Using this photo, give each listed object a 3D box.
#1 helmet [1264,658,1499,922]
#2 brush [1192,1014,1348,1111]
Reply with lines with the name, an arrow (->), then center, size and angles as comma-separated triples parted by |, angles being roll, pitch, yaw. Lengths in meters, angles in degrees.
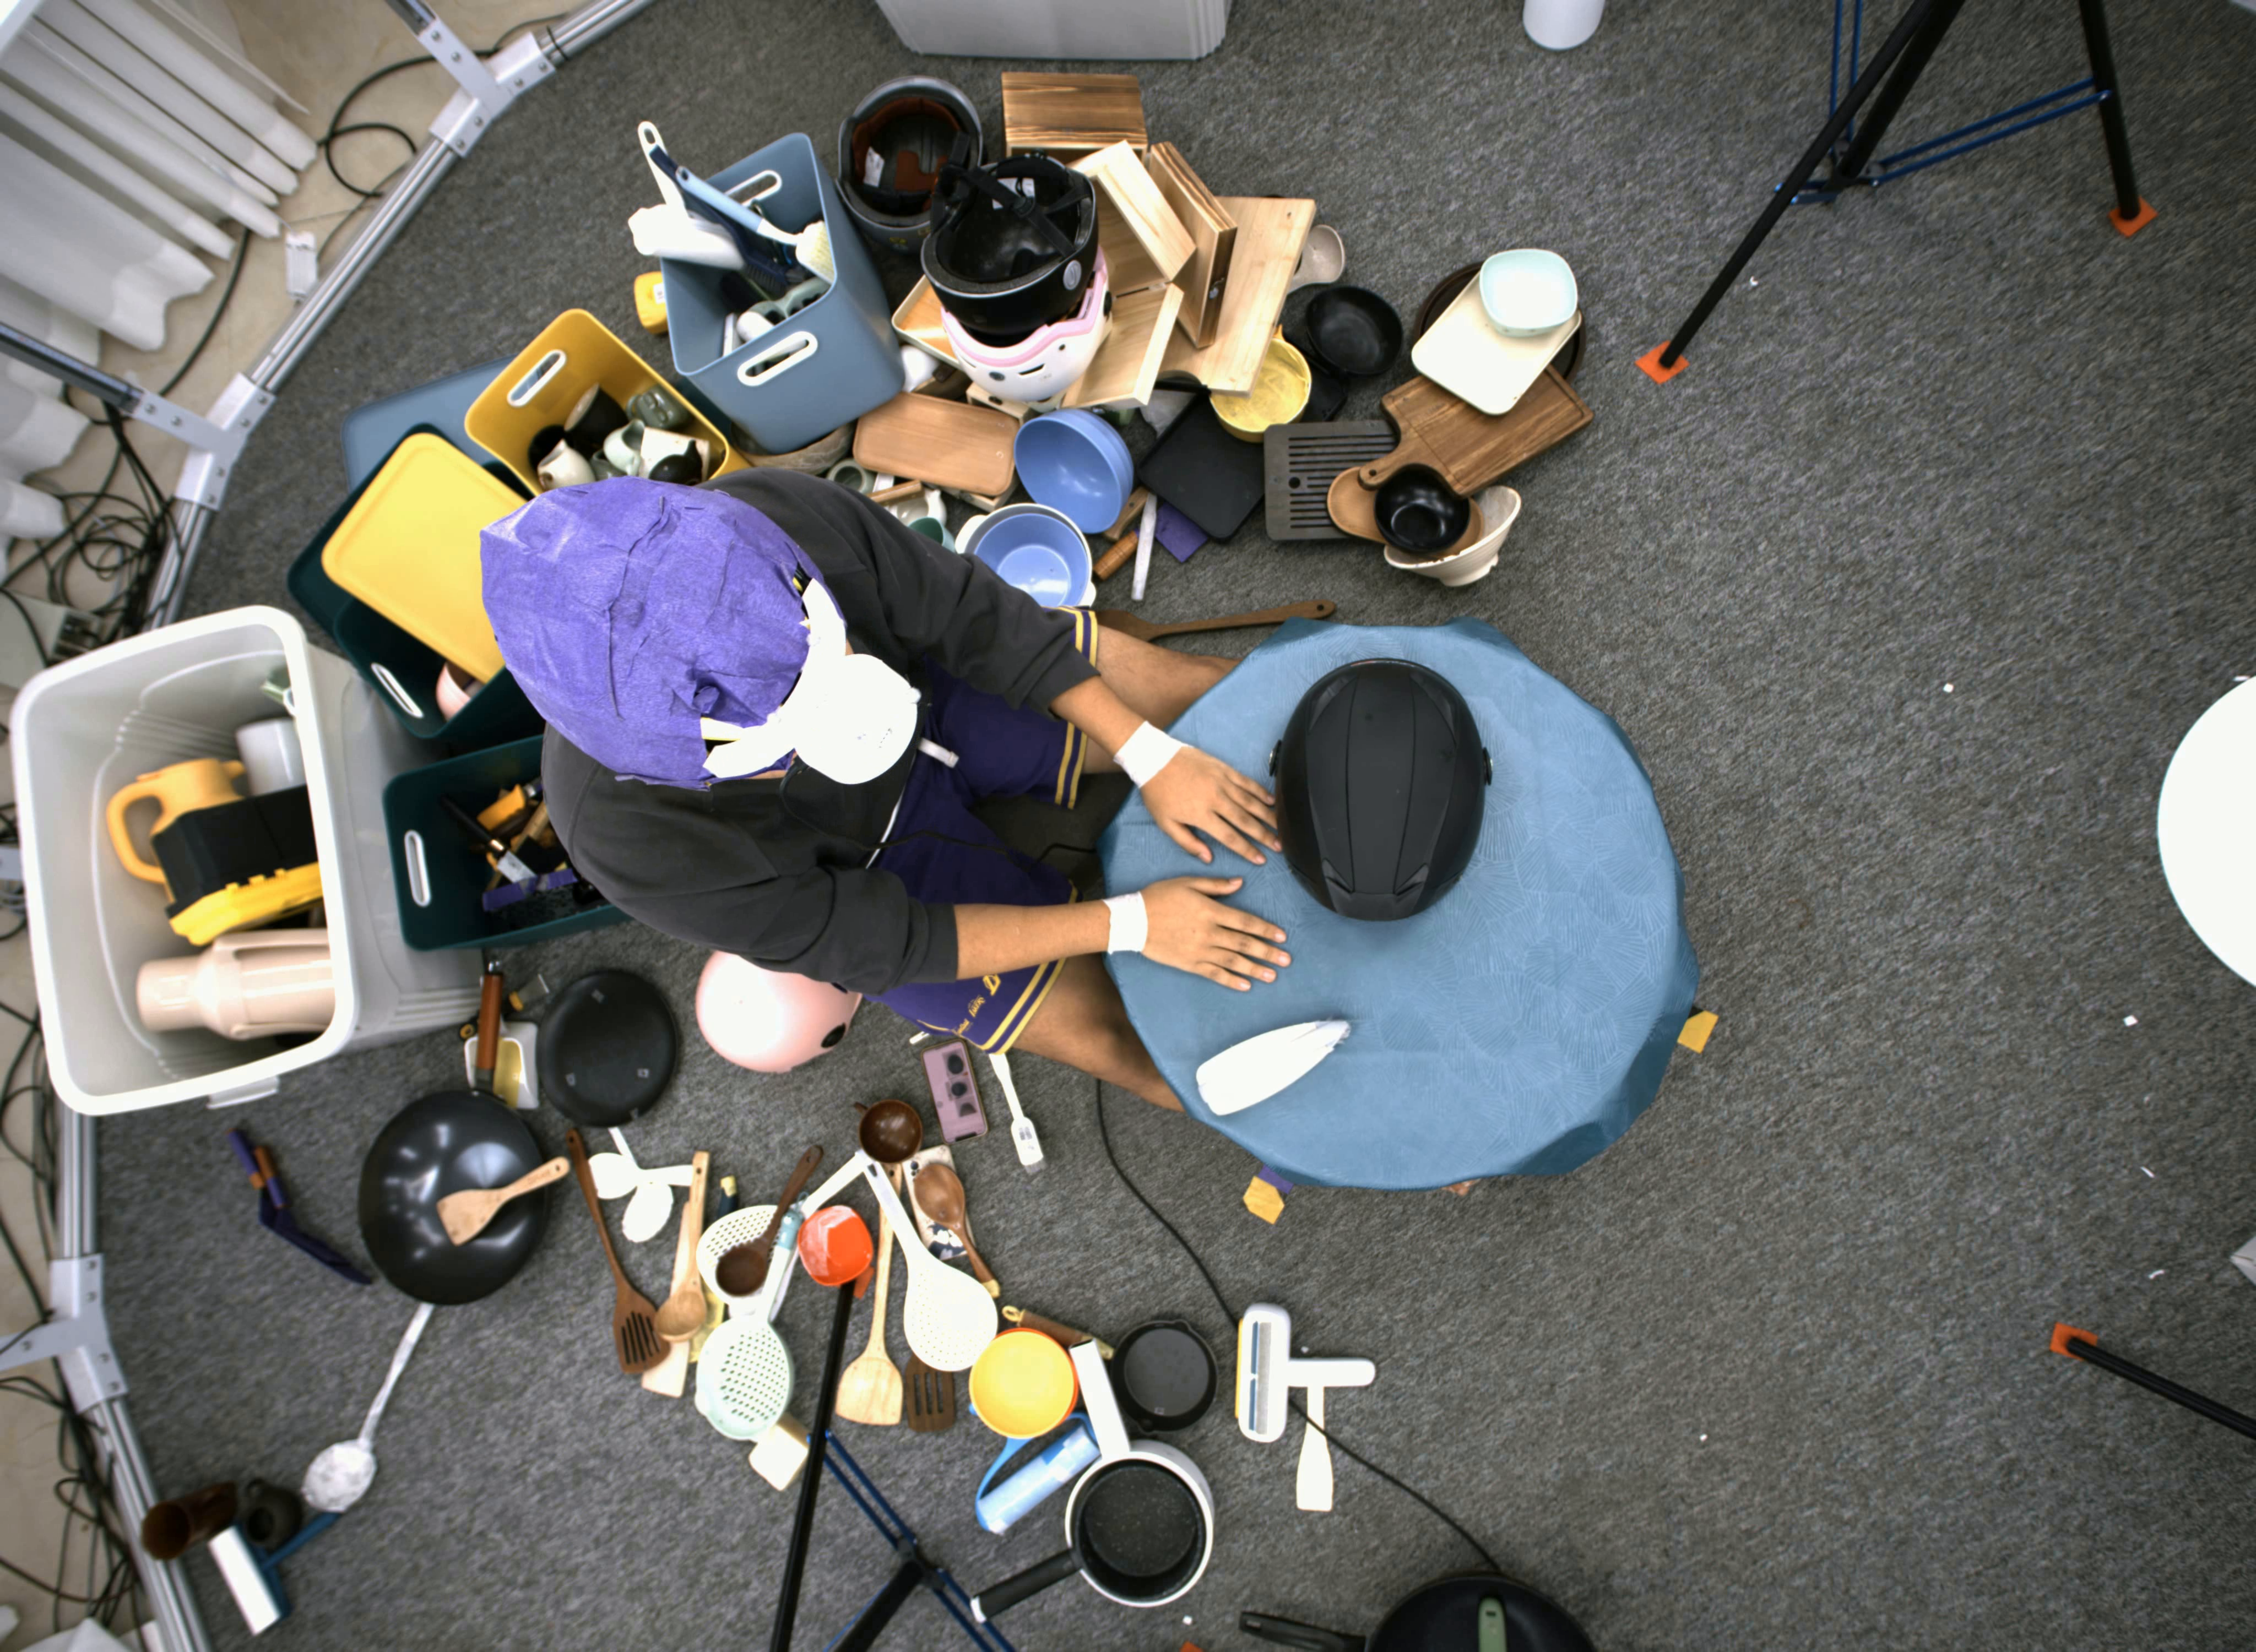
helmet -> 0.255, -0.042, 1.388 | 0.247, 0.172, 0.276 | 5, 91, 10
brush -> 0.149, 0.236, 1.426 | 0.176, 0.094, 0.061 | -26, 85, 5
